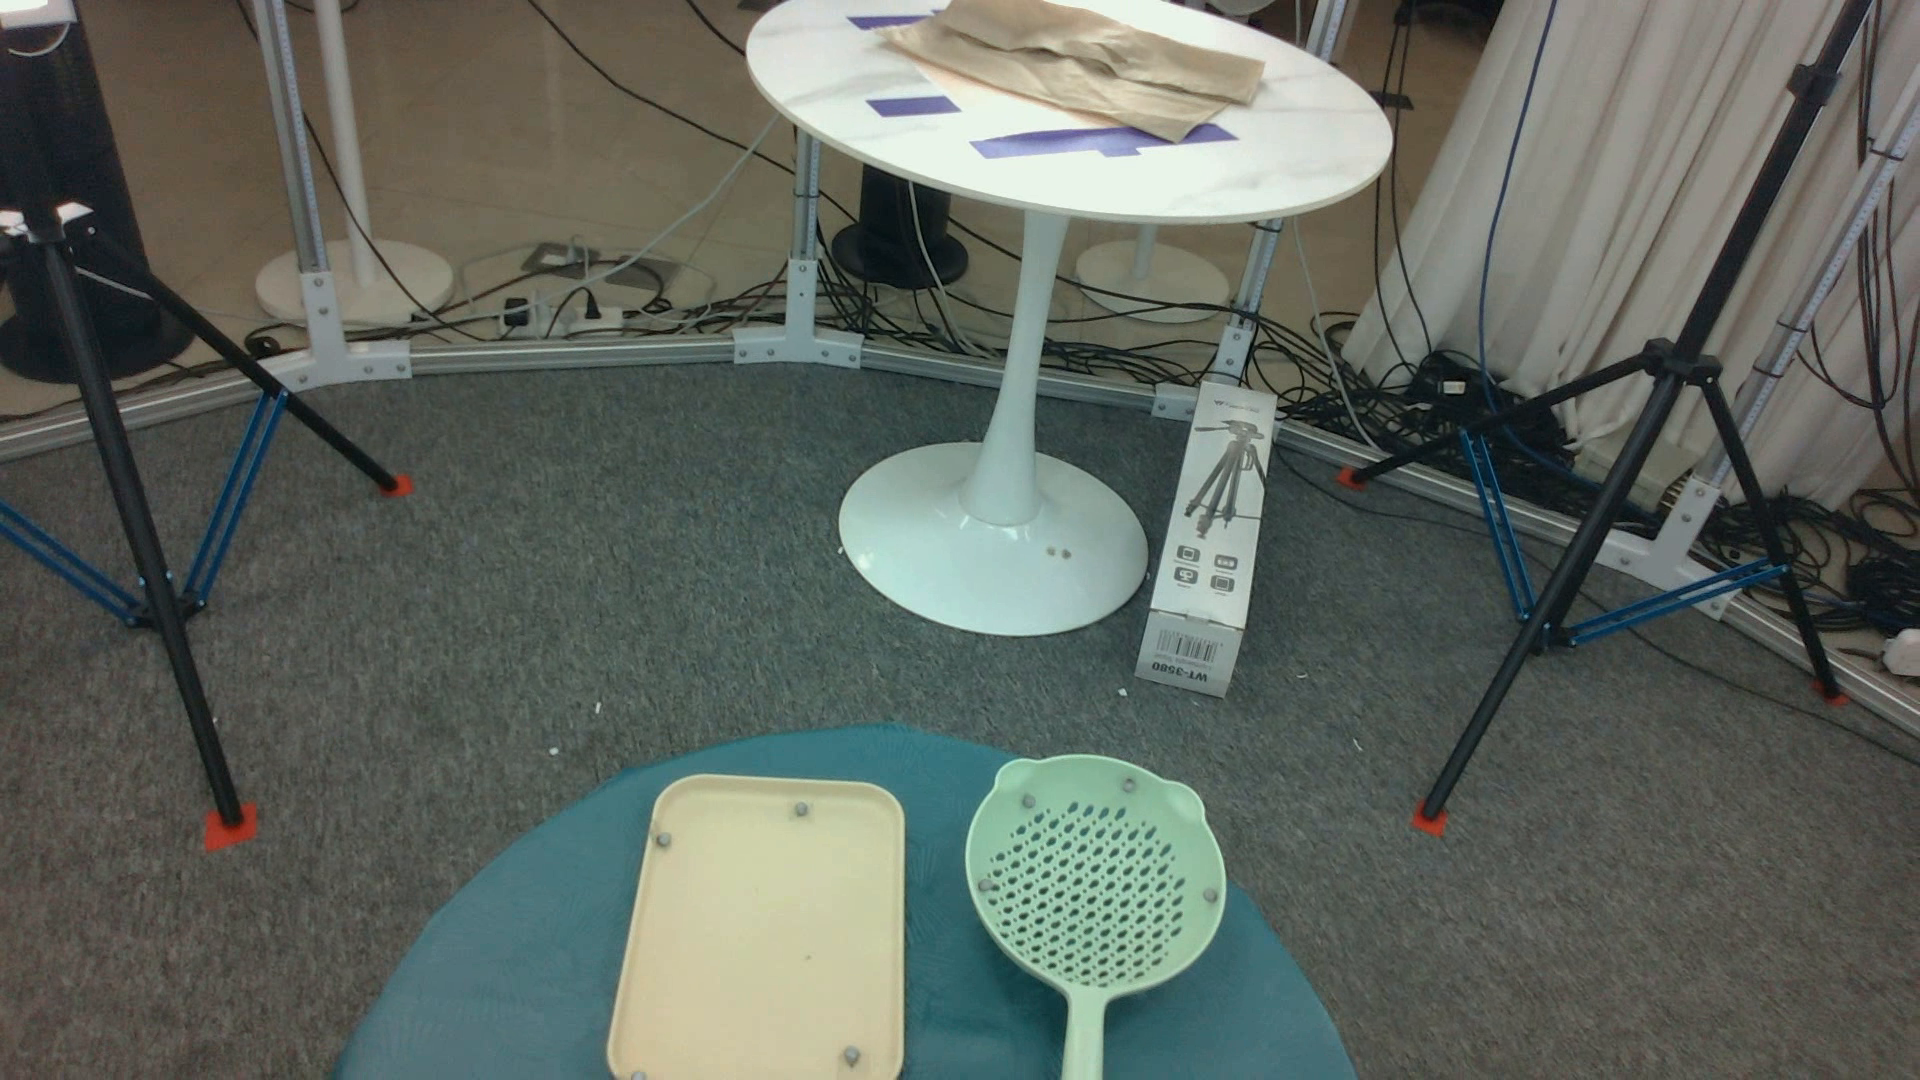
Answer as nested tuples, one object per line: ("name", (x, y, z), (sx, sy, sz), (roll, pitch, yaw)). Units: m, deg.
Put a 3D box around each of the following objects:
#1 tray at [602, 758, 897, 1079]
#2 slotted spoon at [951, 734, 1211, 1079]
("tray", (-0.128, 0.235, 0.872), (0.171, 0.017, 0.240), (3, 39, -7))
("slotted spoon", (0.067, 0.273, 0.826), (0.169, 0.075, 0.360), (7, 38, 1))
